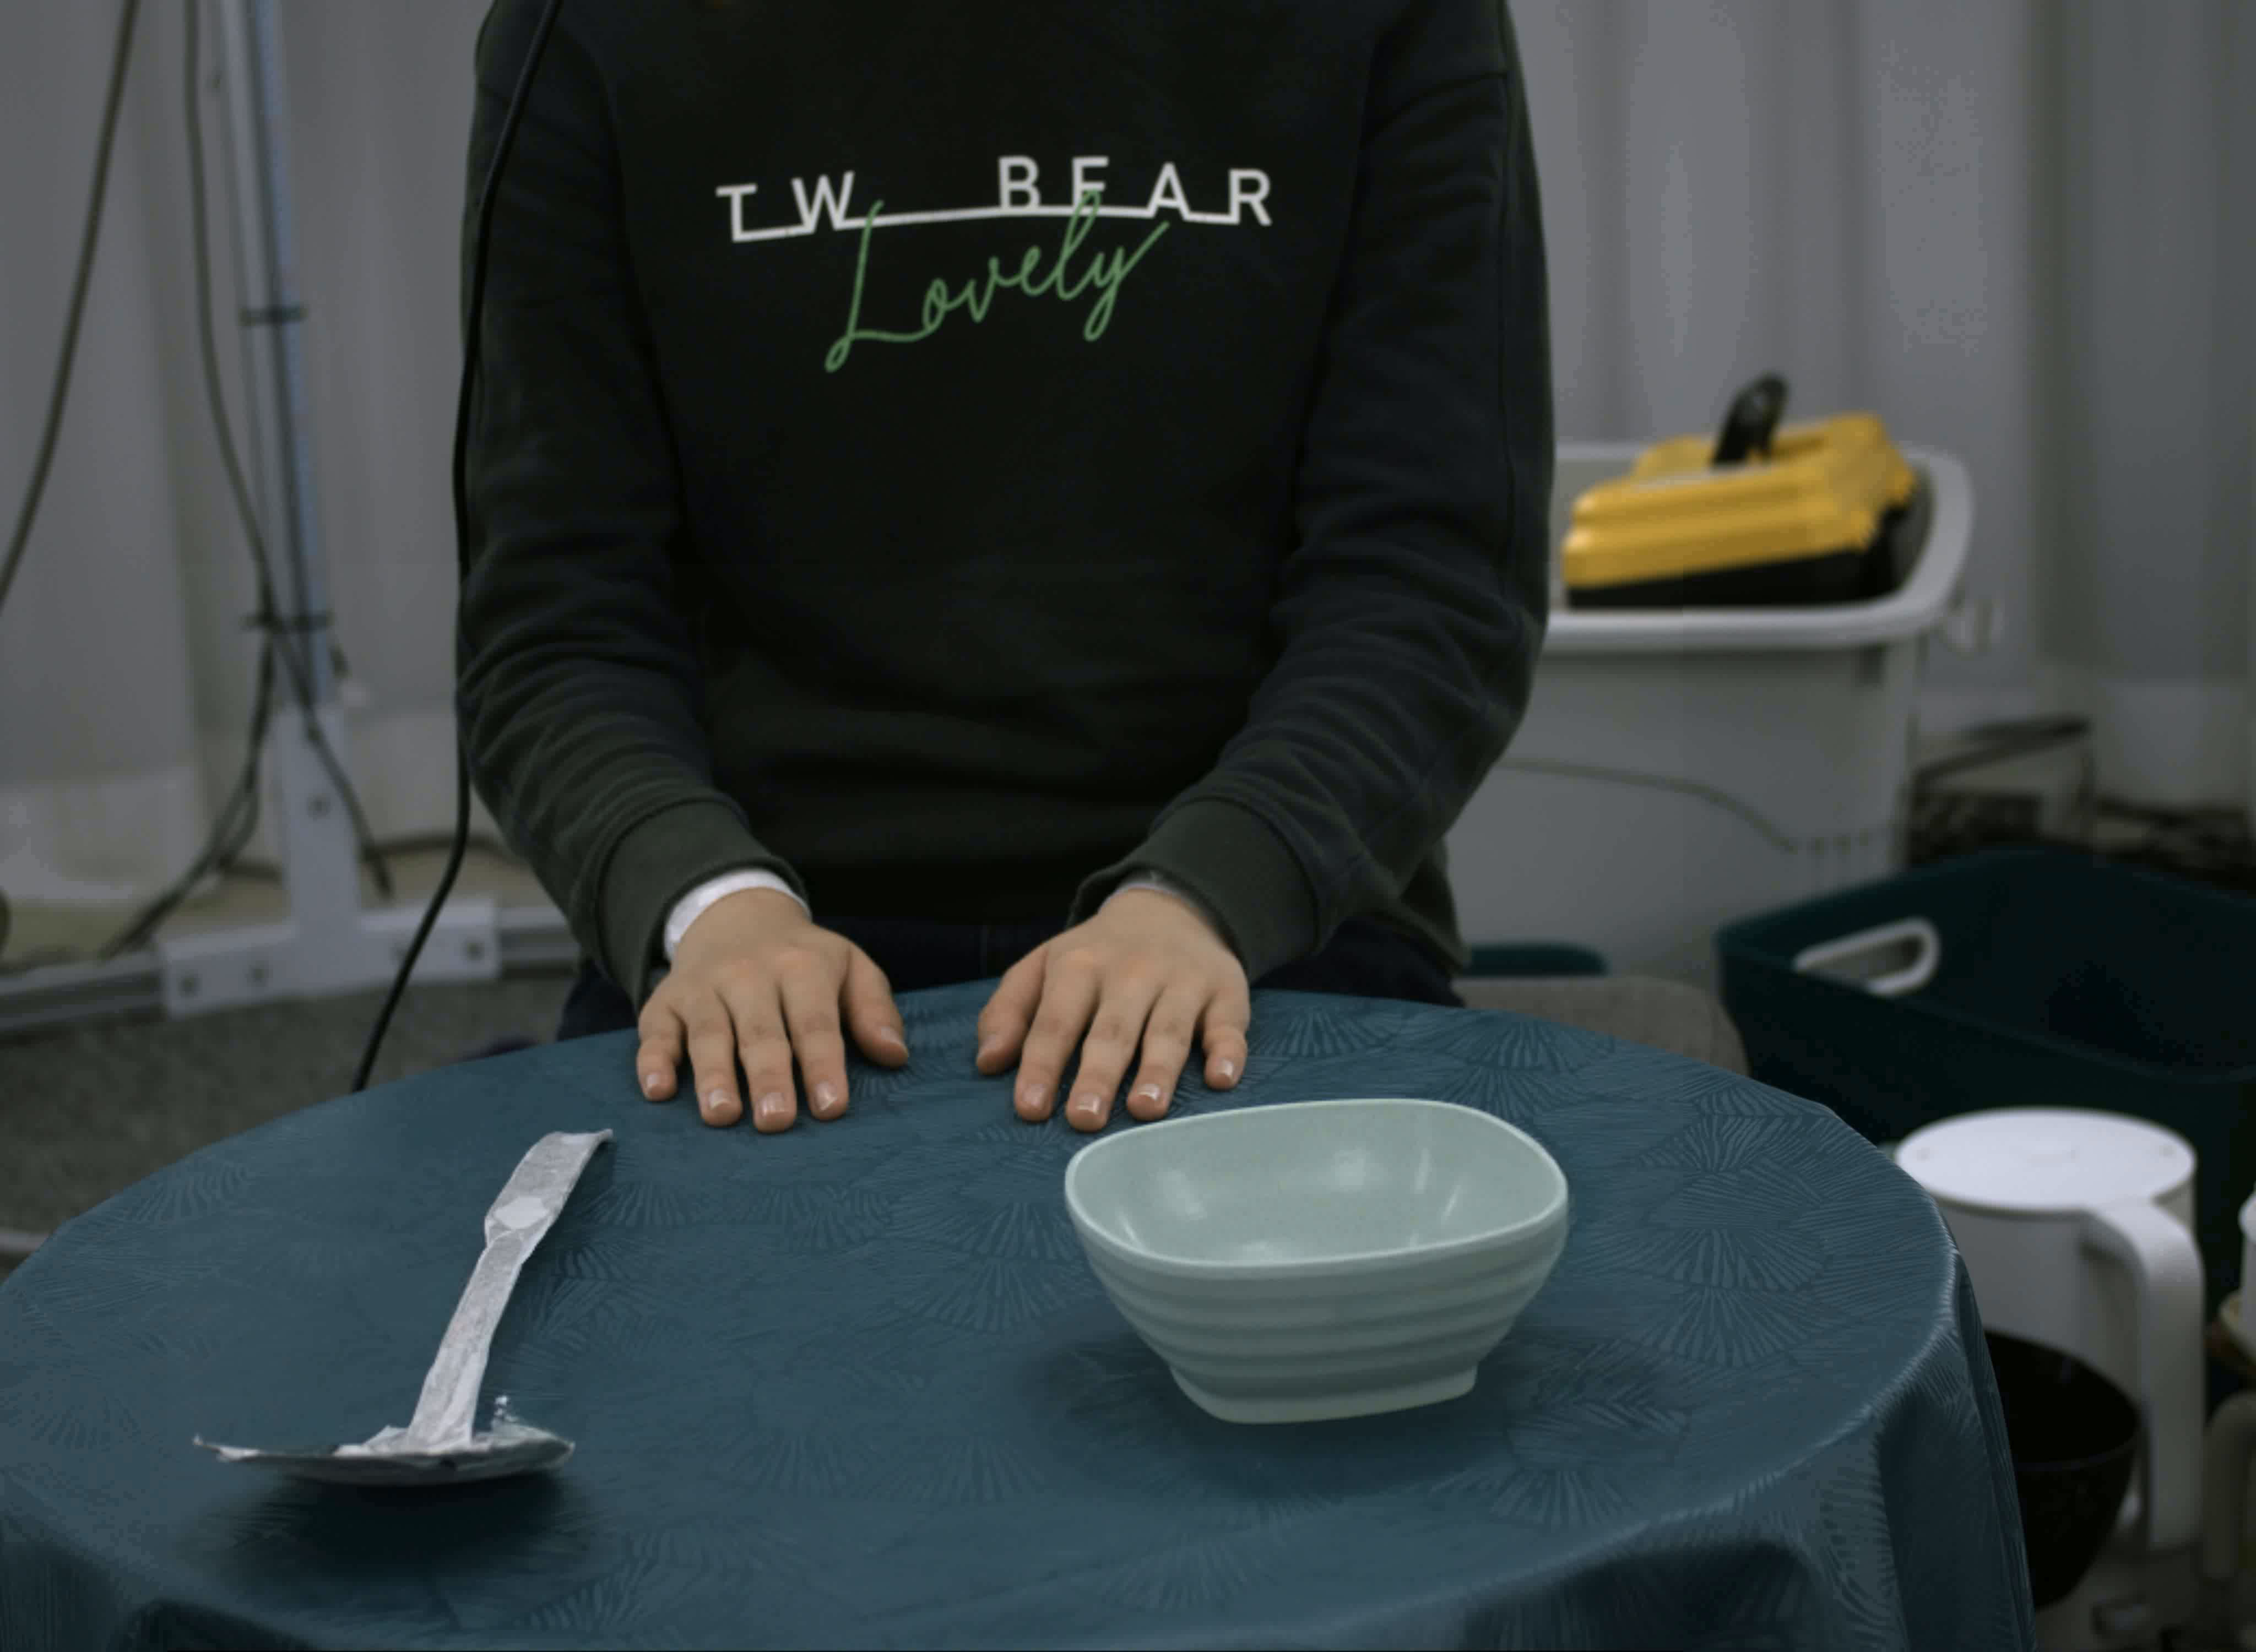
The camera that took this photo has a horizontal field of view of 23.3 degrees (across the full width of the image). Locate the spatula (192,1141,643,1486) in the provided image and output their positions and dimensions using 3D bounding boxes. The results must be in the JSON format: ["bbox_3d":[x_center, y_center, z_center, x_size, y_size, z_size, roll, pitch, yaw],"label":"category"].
[{"bbox_3d":[-0.185,0.134,1.602,0.098,0.044,0.367,-3,15,6],"label":"spatula"}]

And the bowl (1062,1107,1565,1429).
[{"bbox_3d":[0.052,0.128,1.548,0.151,0.058,0.152,0,15,0],"label":"bowl"}]
